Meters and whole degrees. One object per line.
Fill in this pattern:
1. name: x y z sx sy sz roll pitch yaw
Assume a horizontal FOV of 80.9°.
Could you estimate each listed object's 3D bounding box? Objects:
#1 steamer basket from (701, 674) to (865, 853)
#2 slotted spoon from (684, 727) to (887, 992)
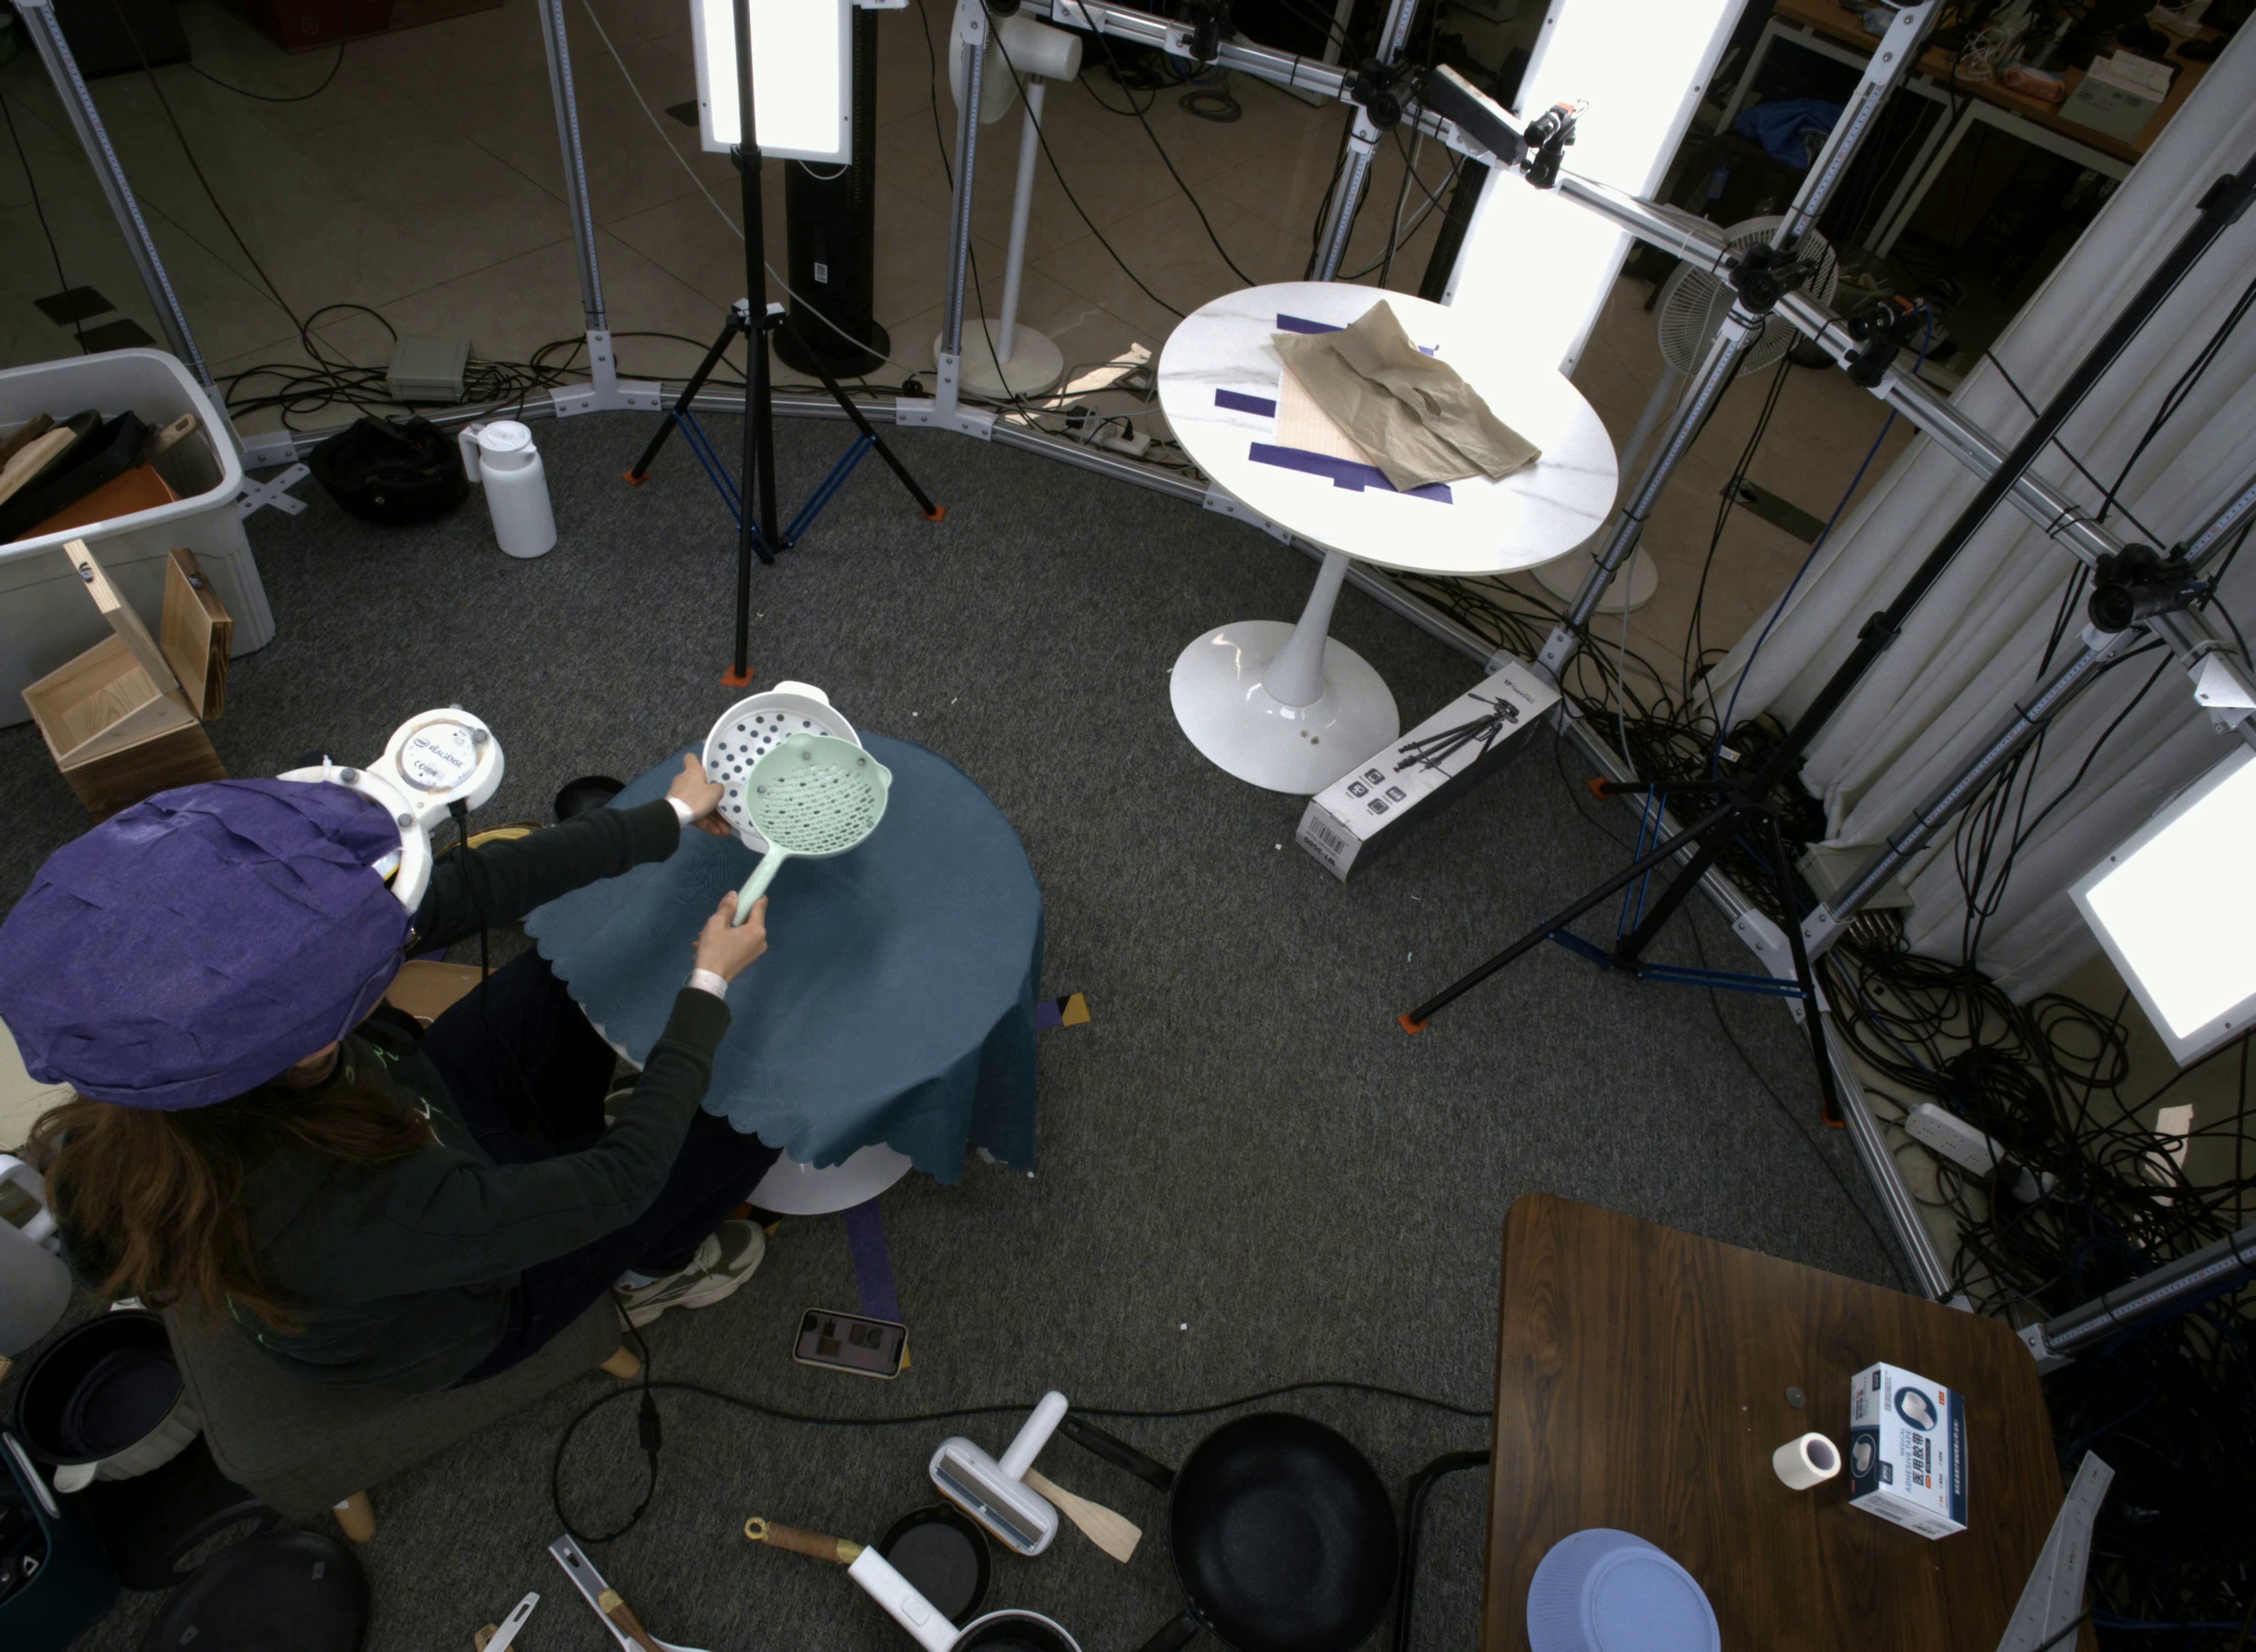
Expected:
1. steamer basket: -0.438 -0.072 1.643 0.204 0.069 0.230 11 73 -19
2. slotted spoon: -0.417 0.036 1.514 0.167 0.077 0.356 24 50 4
